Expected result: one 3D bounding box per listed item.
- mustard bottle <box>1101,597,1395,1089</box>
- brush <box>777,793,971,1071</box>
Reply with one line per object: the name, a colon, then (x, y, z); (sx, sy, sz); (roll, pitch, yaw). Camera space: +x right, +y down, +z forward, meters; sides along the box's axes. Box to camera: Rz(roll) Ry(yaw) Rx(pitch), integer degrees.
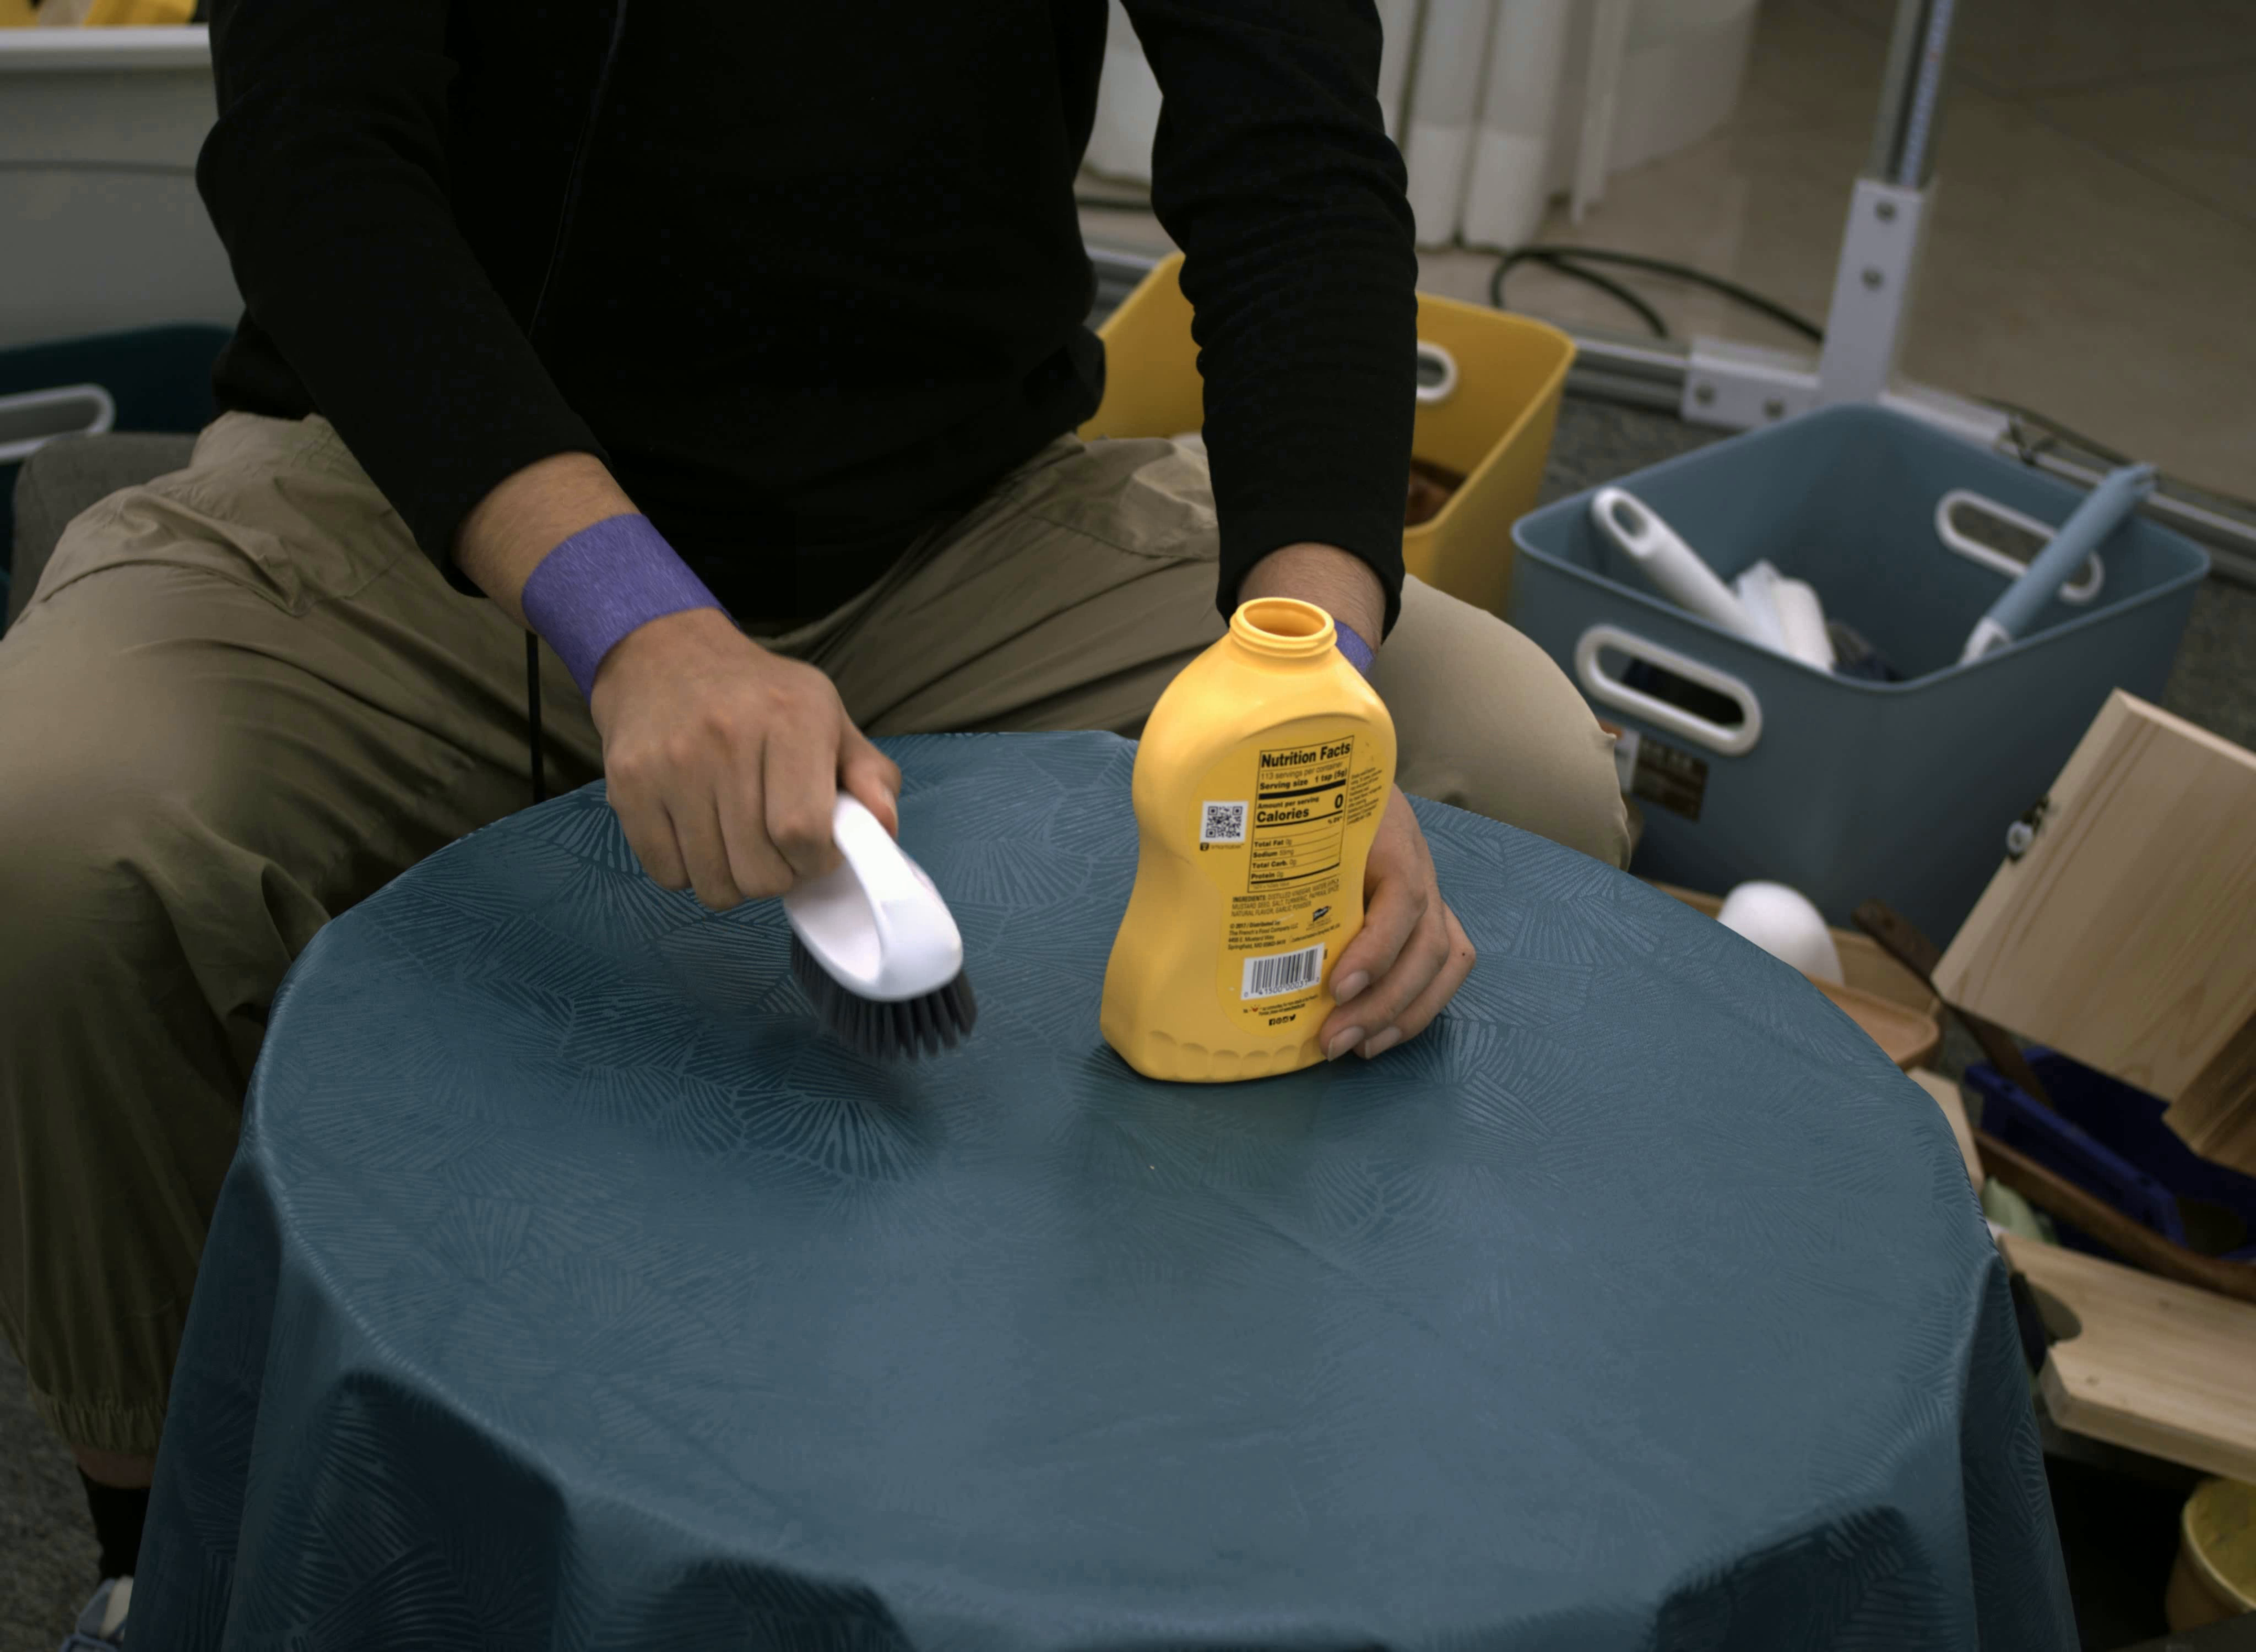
mustard bottle: (0.044, 0.005, 1.859); (0.097, 0.171, 0.060); (-10, 28, -27)
brush: (-0.091, 0.029, 1.832); (0.050, 0.072, 0.100); (-17, 34, -15)
